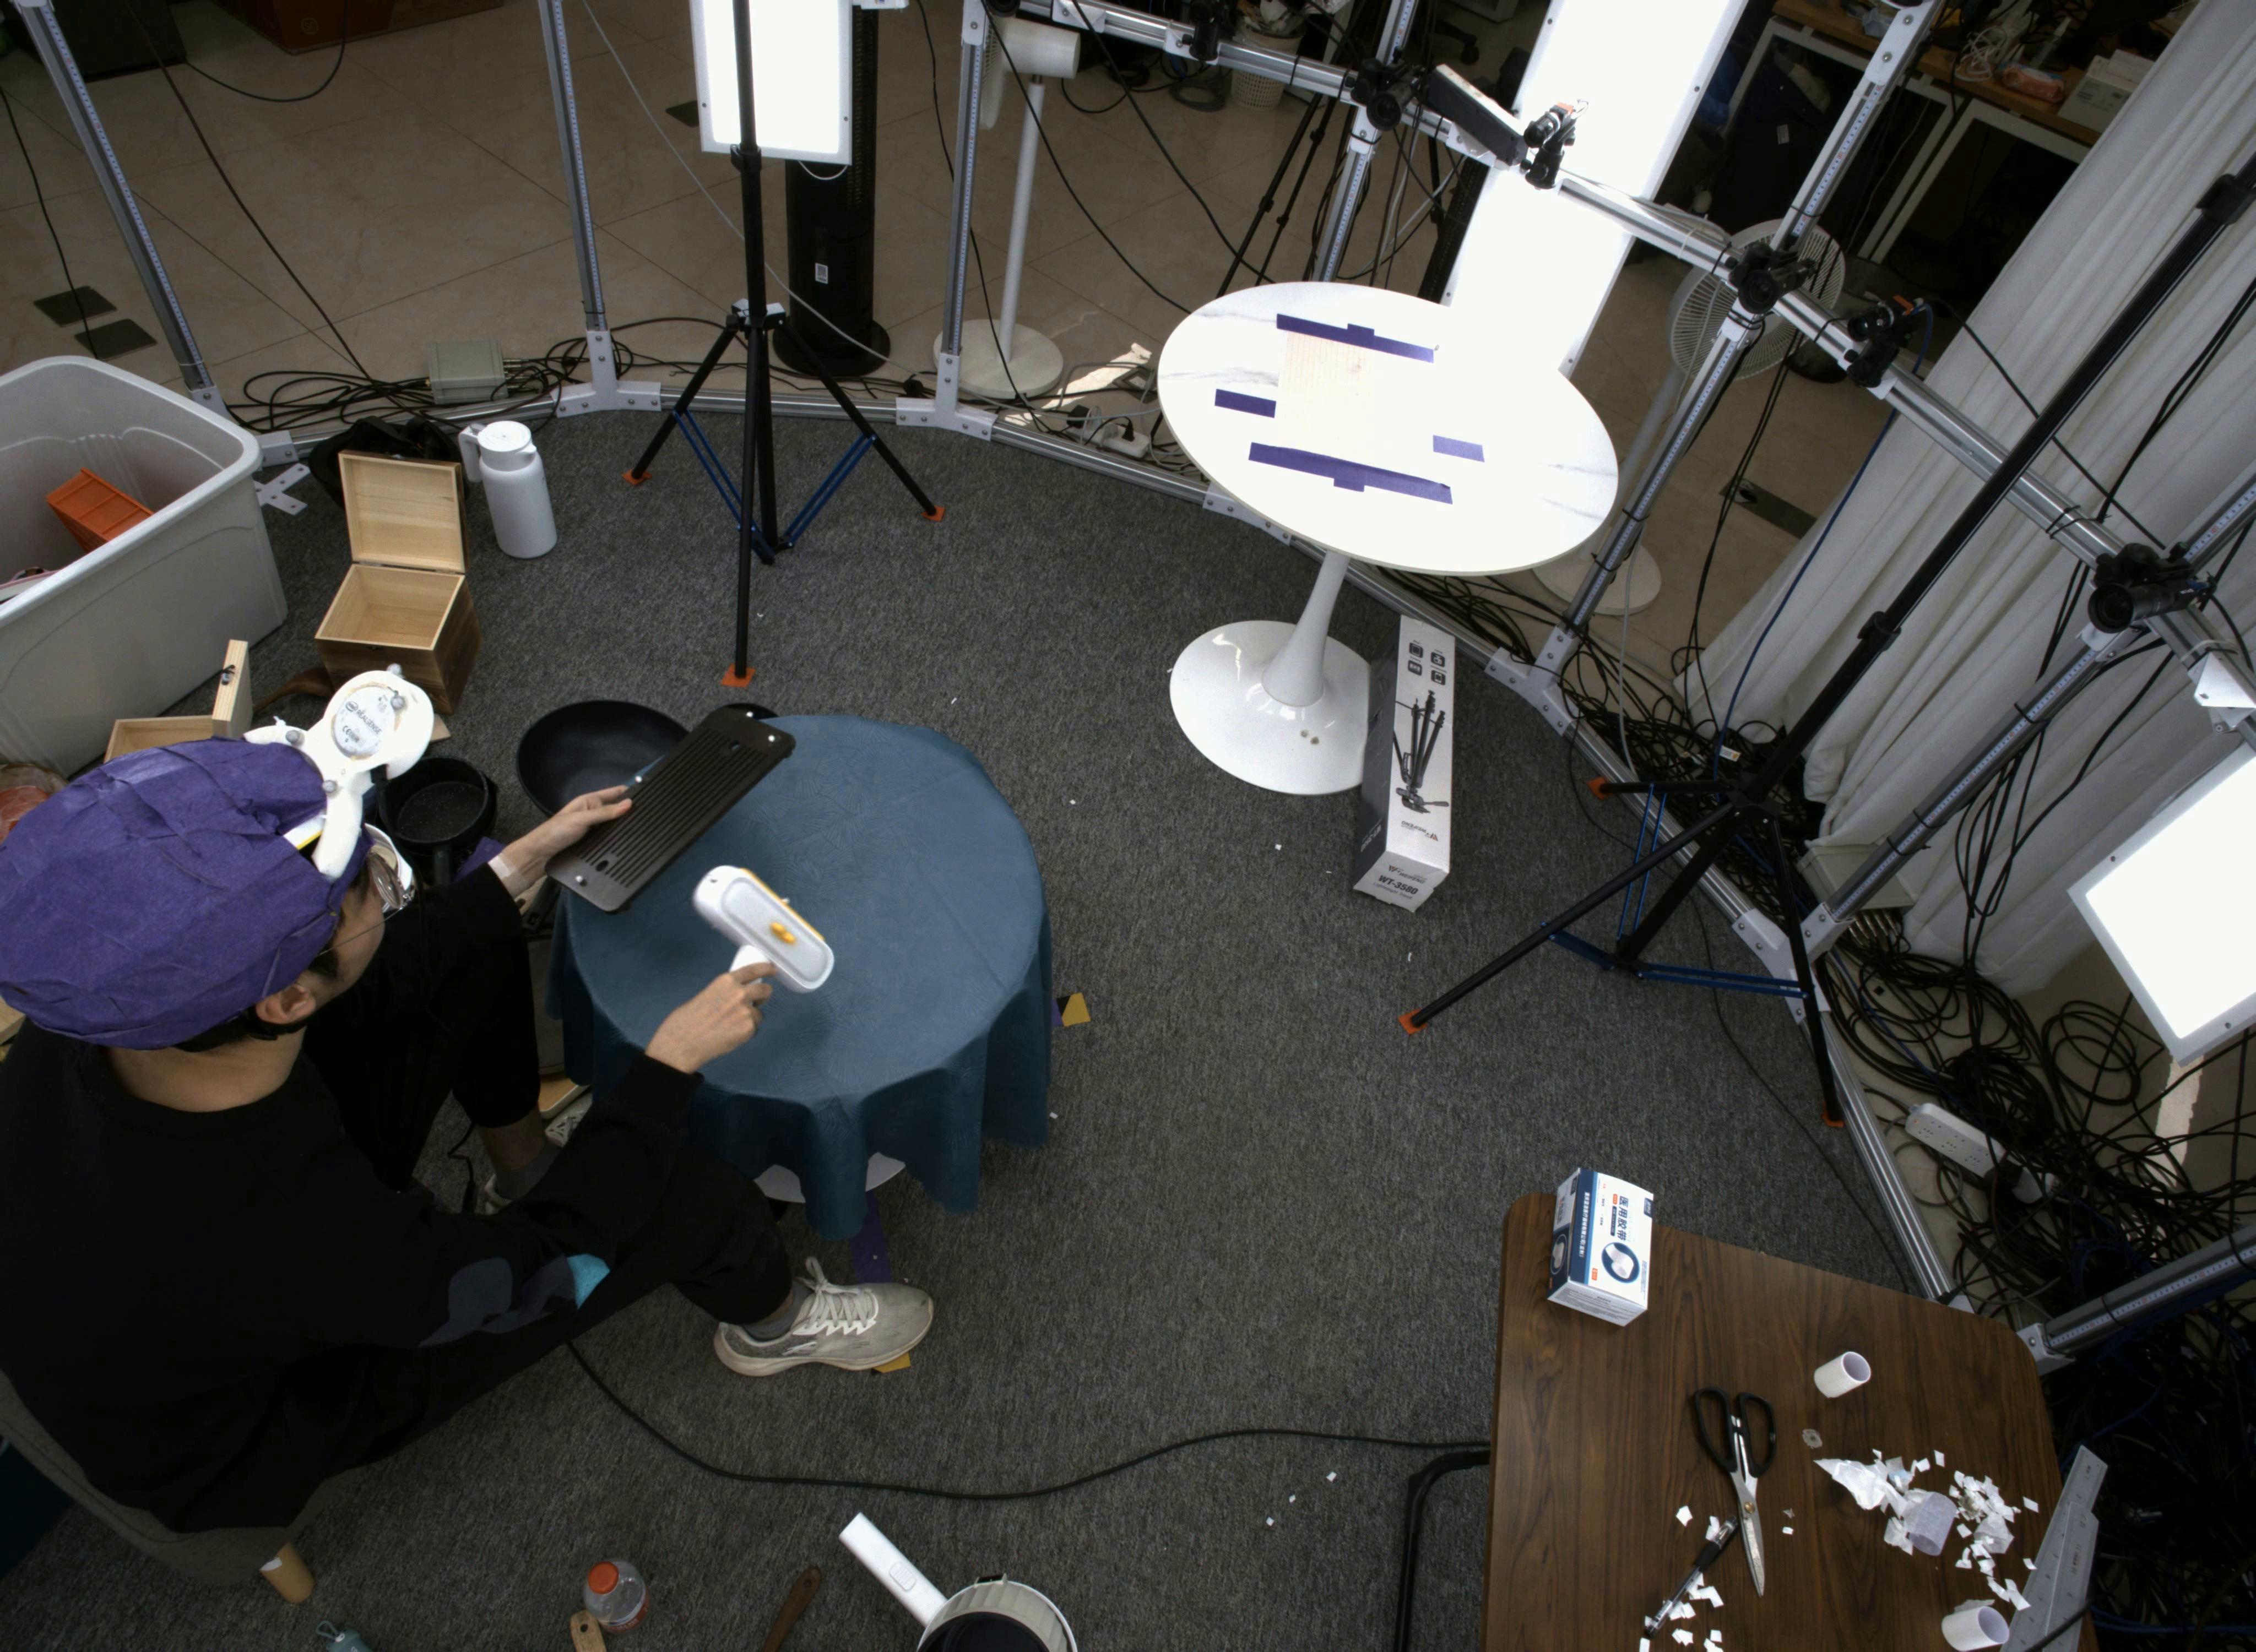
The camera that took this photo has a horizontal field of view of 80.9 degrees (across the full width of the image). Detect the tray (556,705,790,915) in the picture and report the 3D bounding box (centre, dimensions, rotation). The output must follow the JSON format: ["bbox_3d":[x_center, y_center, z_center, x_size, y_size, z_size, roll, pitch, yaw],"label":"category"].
[{"bbox_3d":[-0.555,-0.026,1.552,0.163,0.019,0.305,22,59,37],"label":"tray"}]

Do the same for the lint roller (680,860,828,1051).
[{"bbox_3d":[-0.432,0.159,1.443,0.072,0.200,0.191,-7,51,34],"label":"lint roller"}]
